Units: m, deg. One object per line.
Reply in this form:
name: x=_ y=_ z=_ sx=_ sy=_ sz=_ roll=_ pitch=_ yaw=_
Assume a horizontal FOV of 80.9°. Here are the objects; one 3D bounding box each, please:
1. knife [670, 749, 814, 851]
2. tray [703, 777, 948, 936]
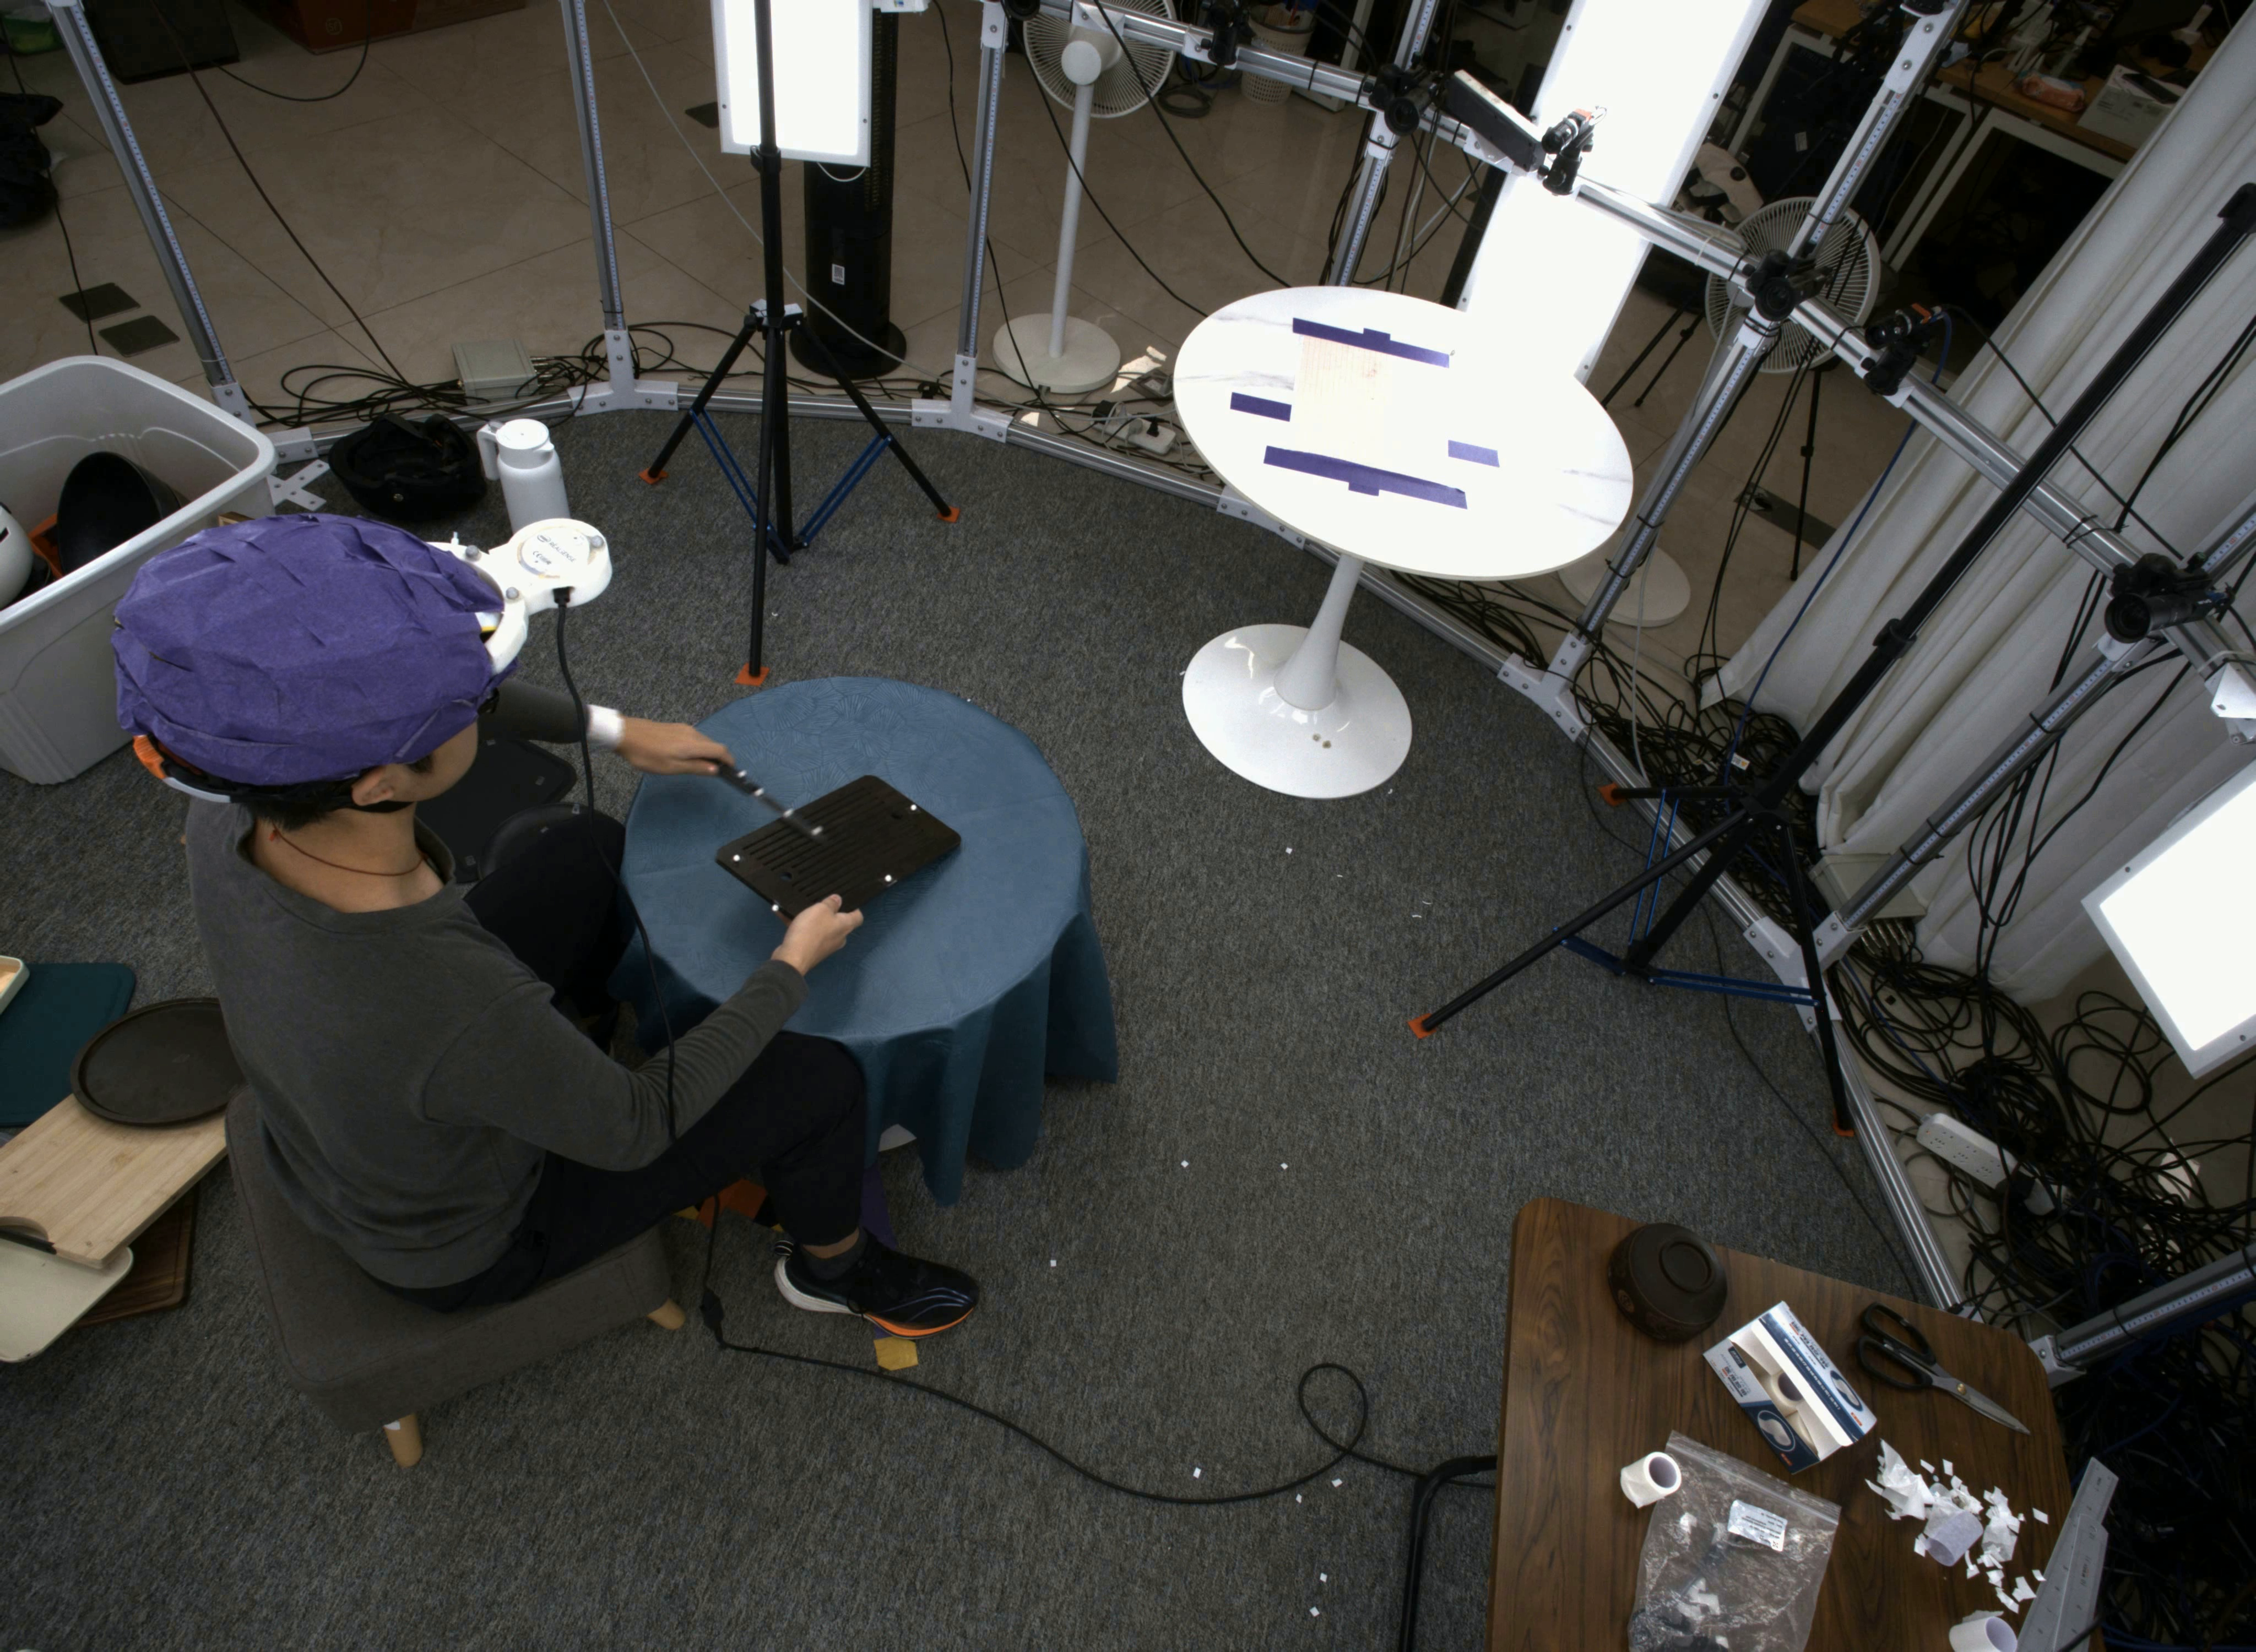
knife: x=-0.495 y=-0.033 z=1.645 sx=0.235 sy=0.016 sz=0.024 roll=33 pitch=22 yaw=7
tray: x=-0.378 y=0.033 z=1.654 sx=0.167 sy=0.019 sz=0.306 roll=34 pitch=34 yaw=13
